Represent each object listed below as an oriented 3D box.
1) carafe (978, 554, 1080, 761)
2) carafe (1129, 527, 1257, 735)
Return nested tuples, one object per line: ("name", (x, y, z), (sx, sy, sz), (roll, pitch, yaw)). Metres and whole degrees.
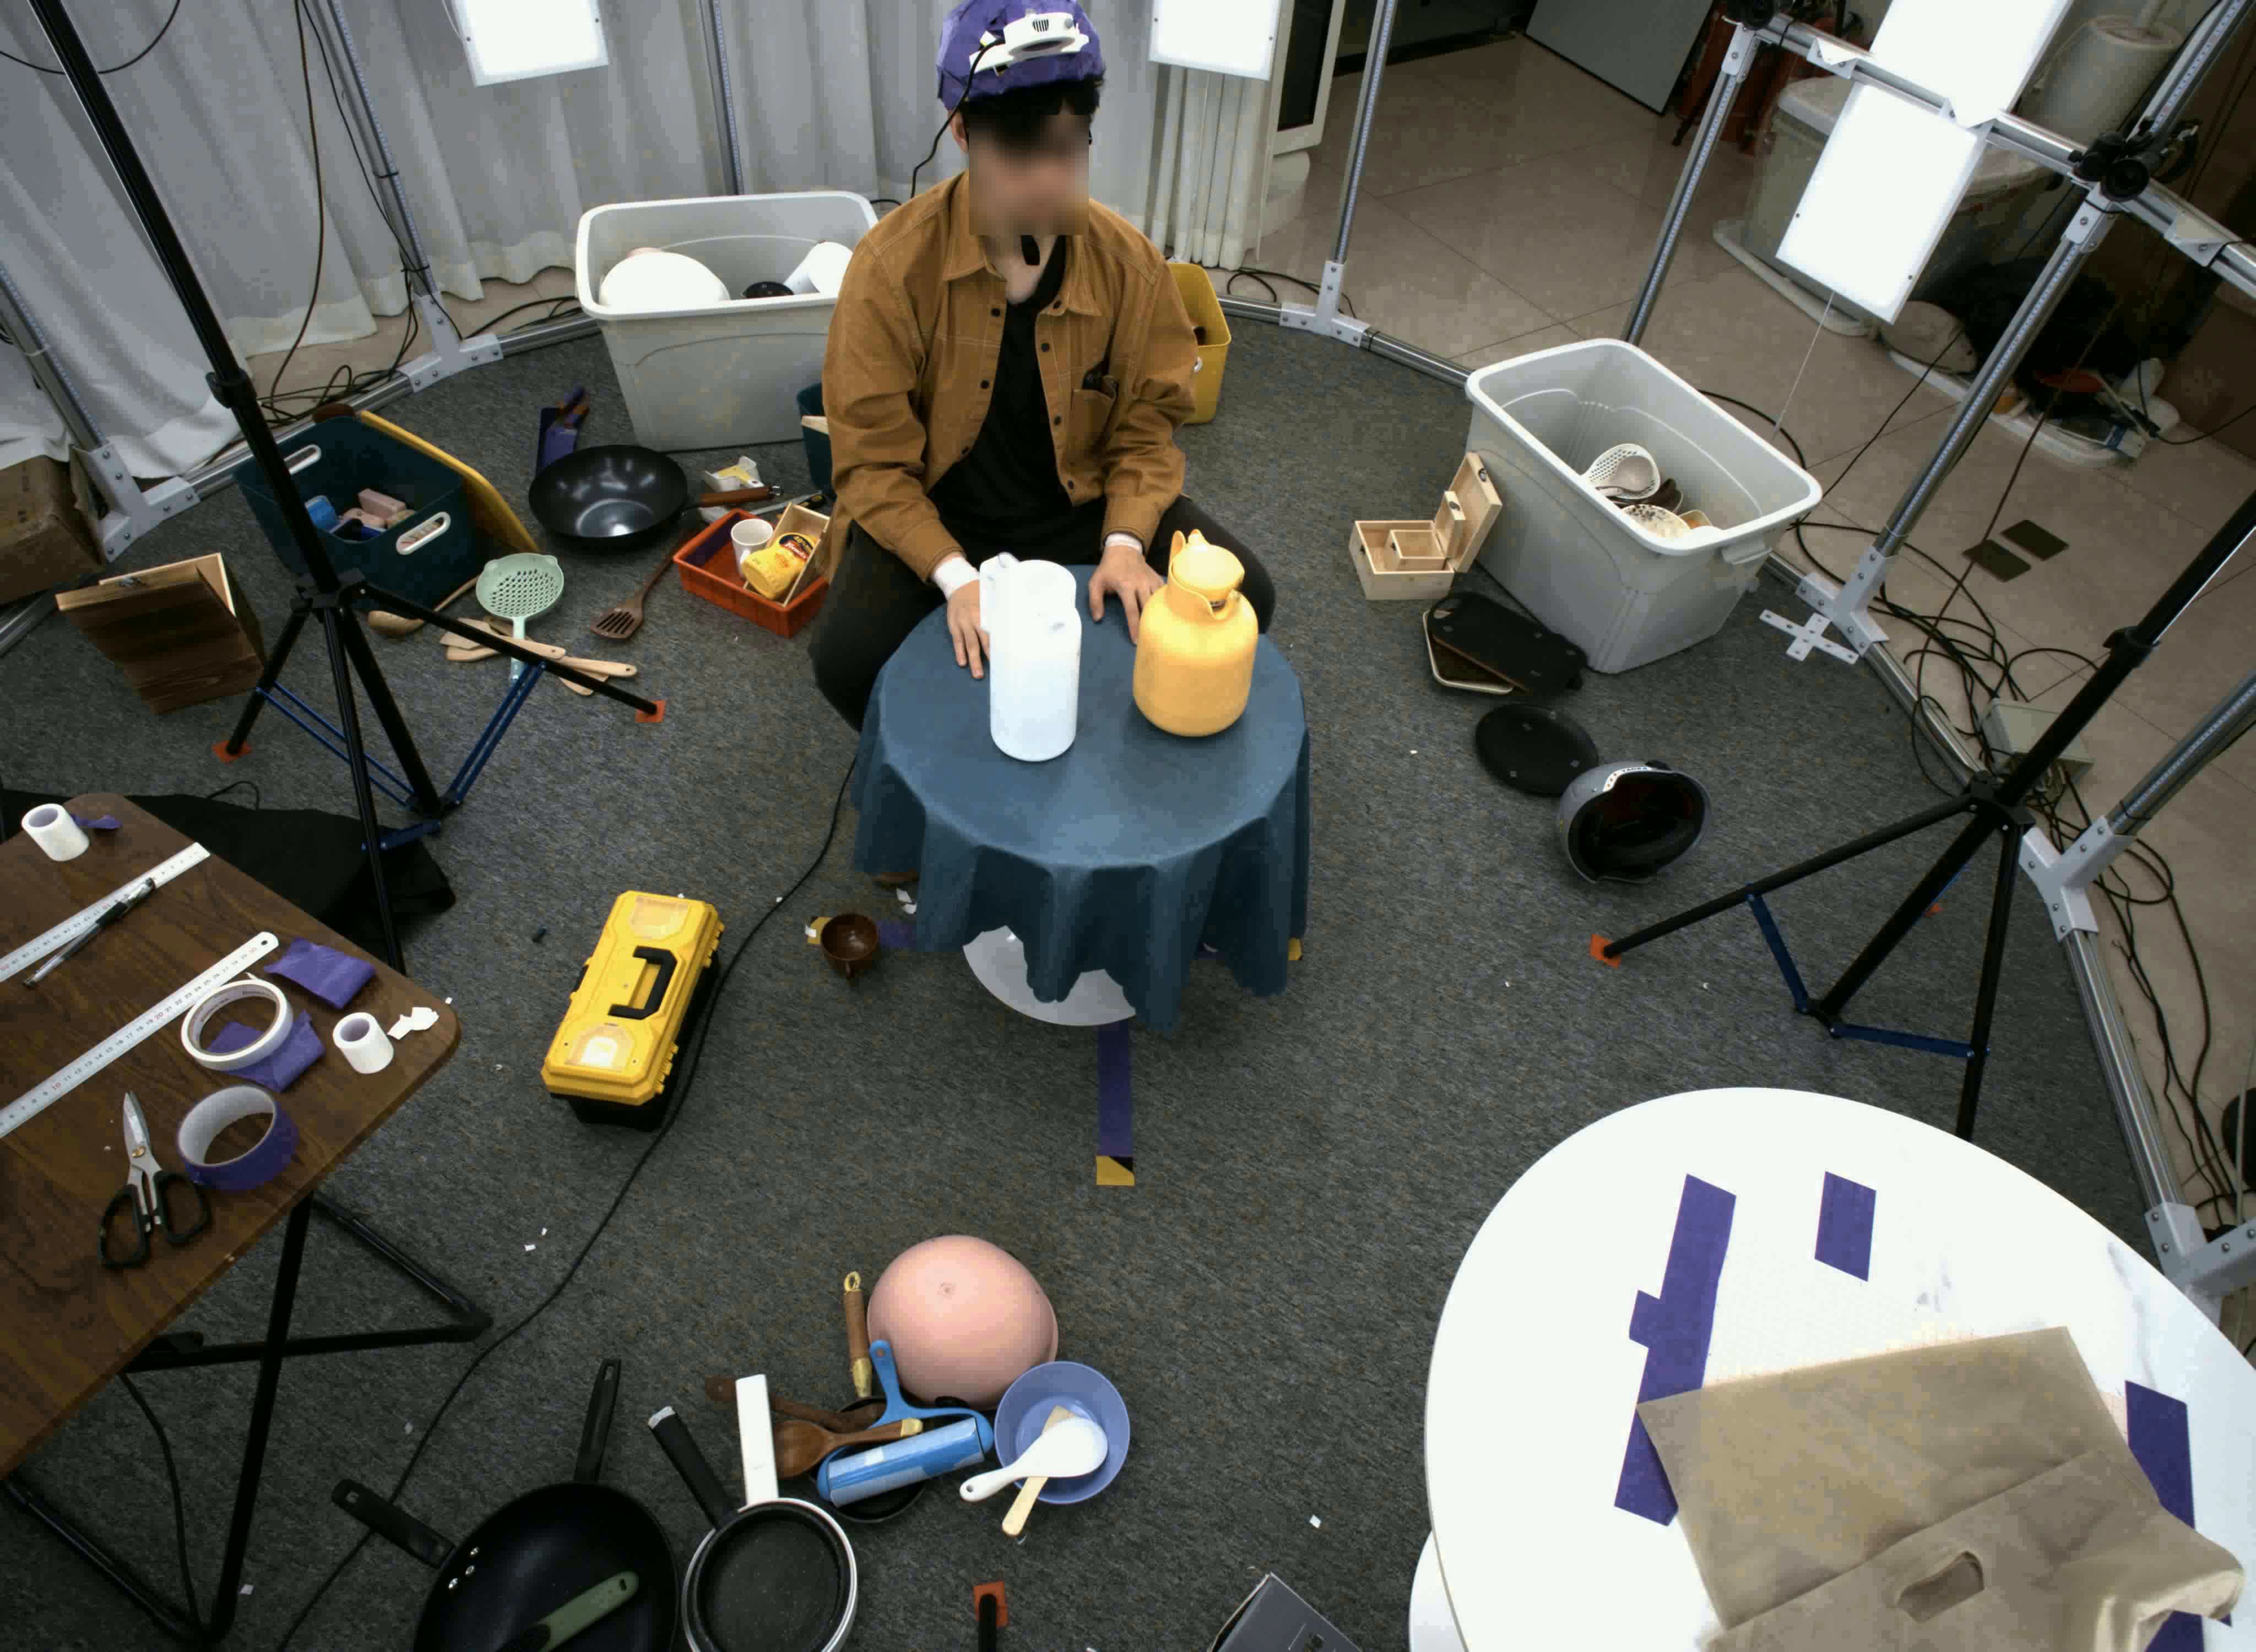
("carafe", (-0.135, -0.222, 1.681), (0.124, 0.262, 0.176), (-31, 58, -25))
("carafe", (0.089, -0.271, 1.739), (0.163, 0.254, 0.207), (-3, 51, -11))
